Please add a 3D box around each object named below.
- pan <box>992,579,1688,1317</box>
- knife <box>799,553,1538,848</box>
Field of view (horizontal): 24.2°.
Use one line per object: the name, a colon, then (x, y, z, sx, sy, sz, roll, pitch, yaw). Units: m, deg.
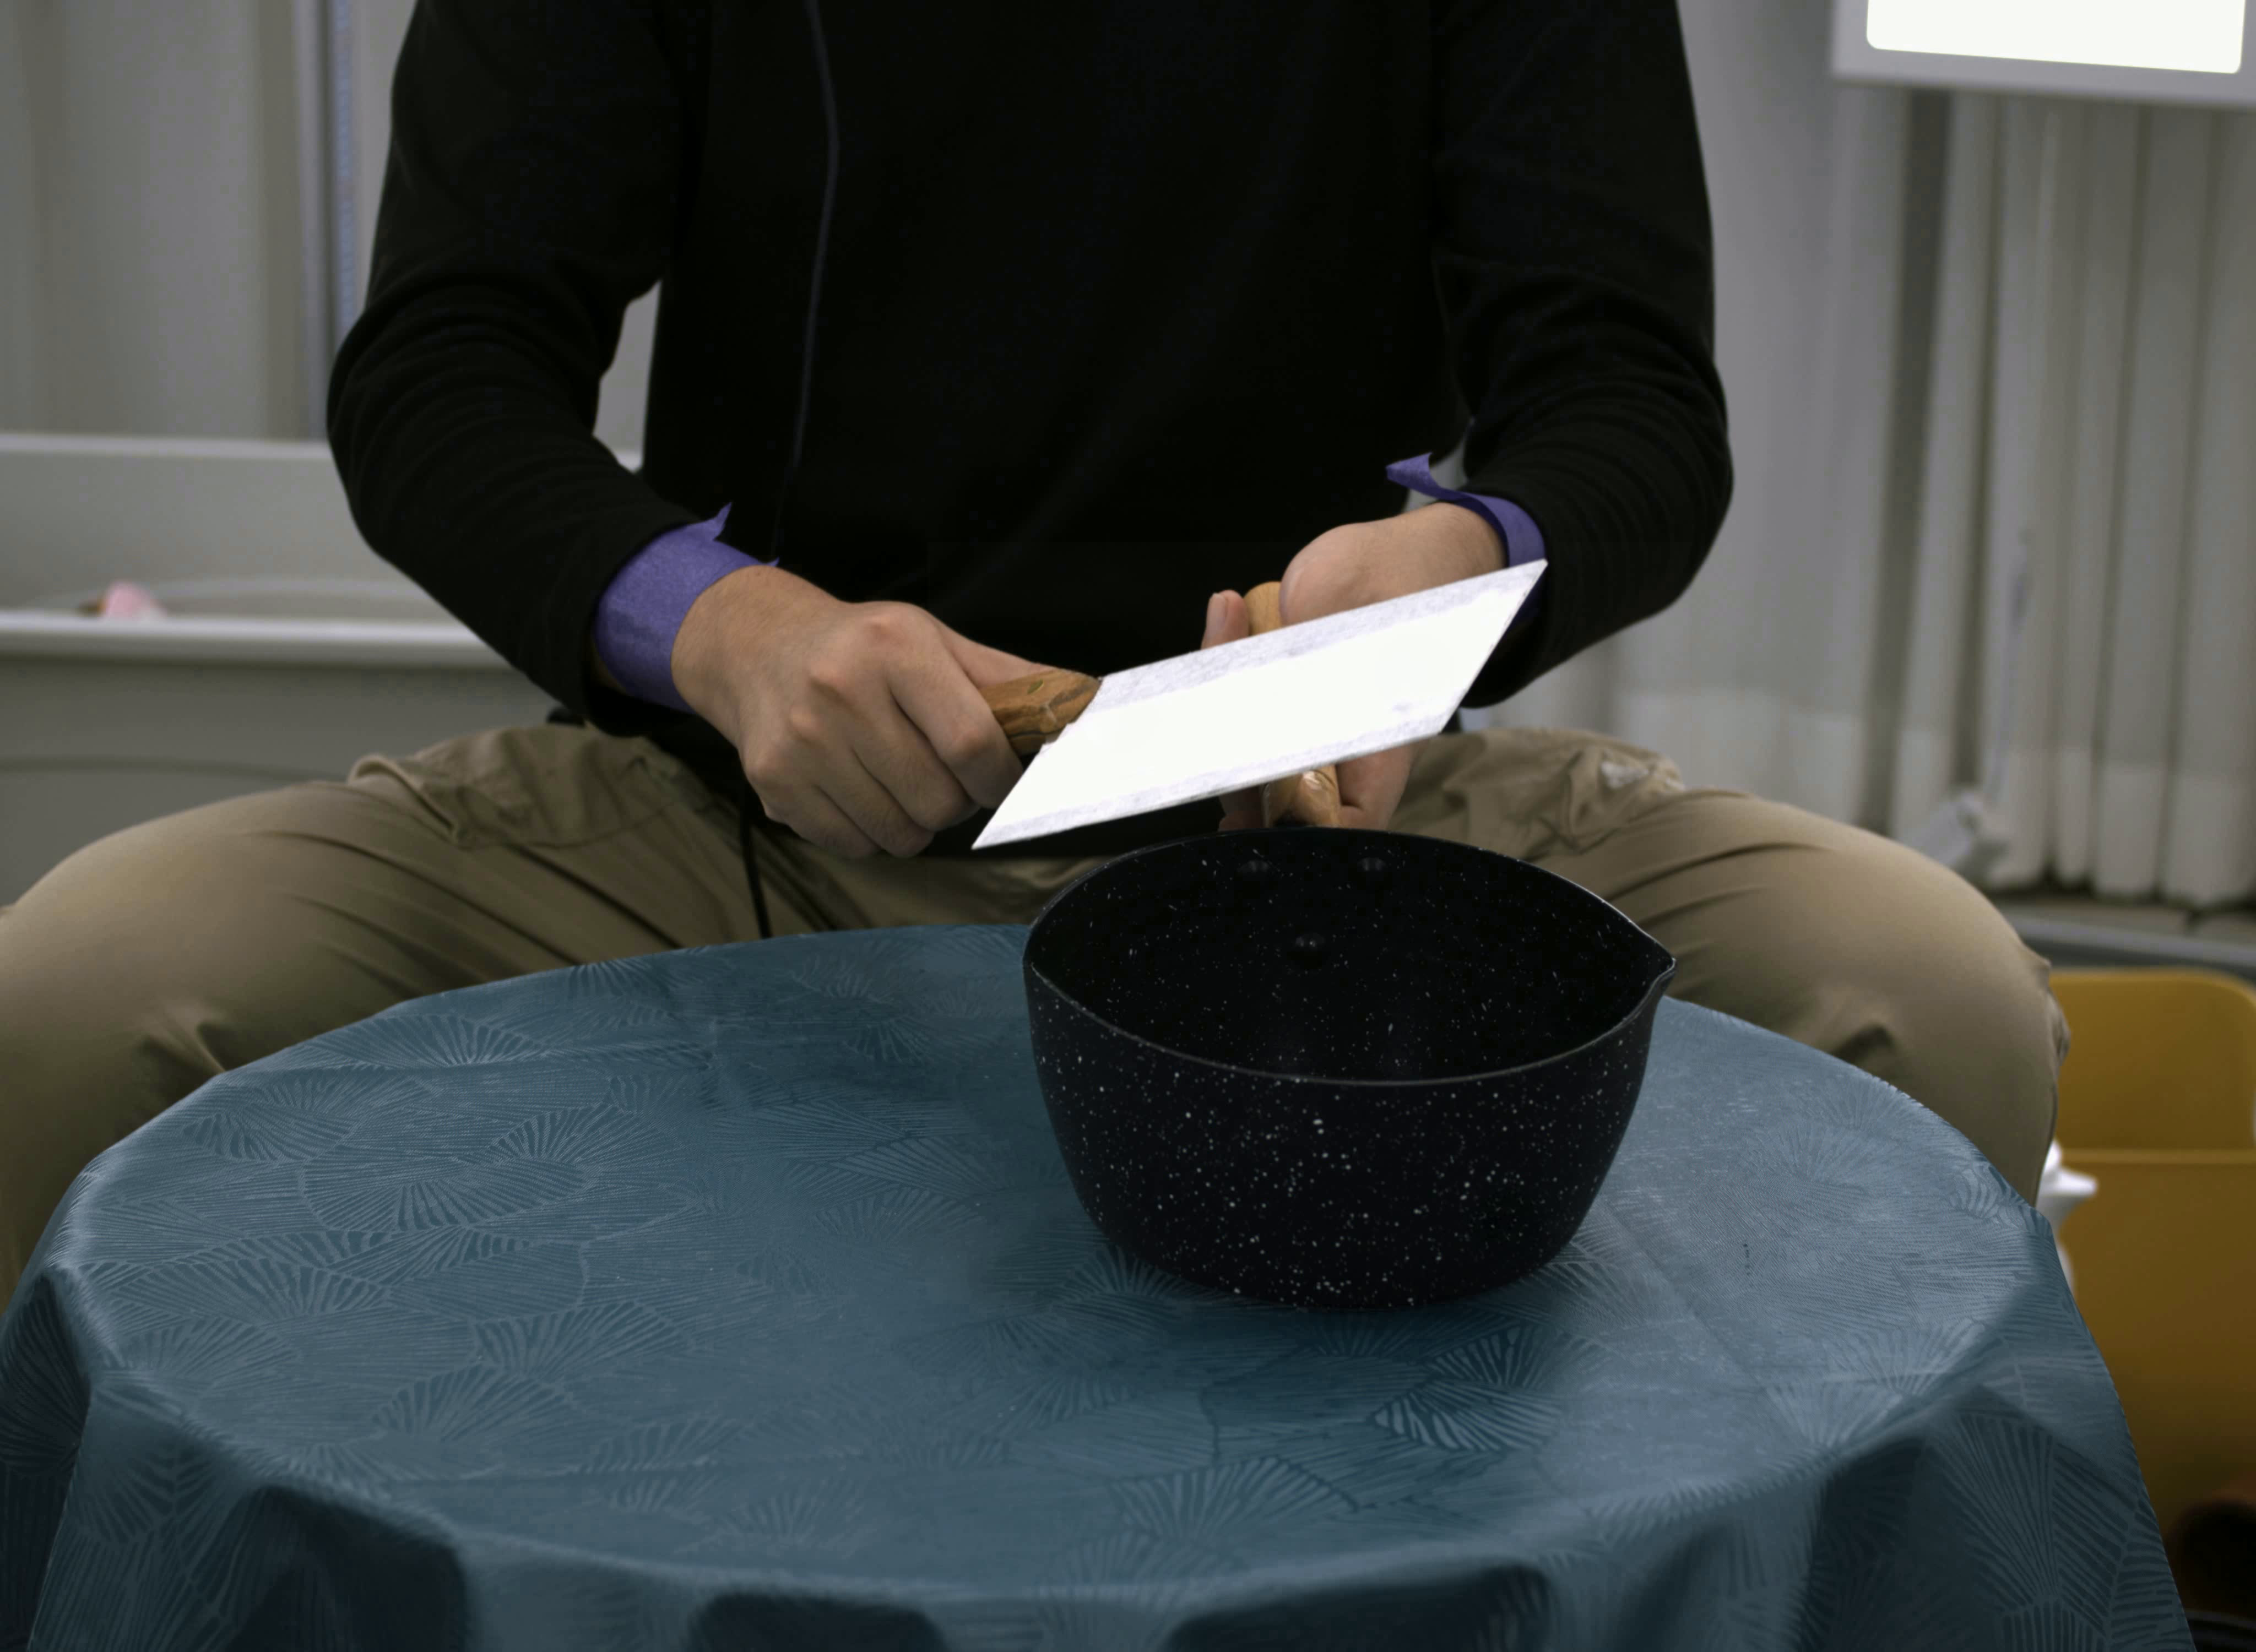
pan: (0.056, 0.033, 1.640, 0.207, 0.109, 0.340, 1, 24, -6)
knife: (-0.002, -0.029, 1.678, 0.303, 0.021, 0.092, -14, 30, 39)
